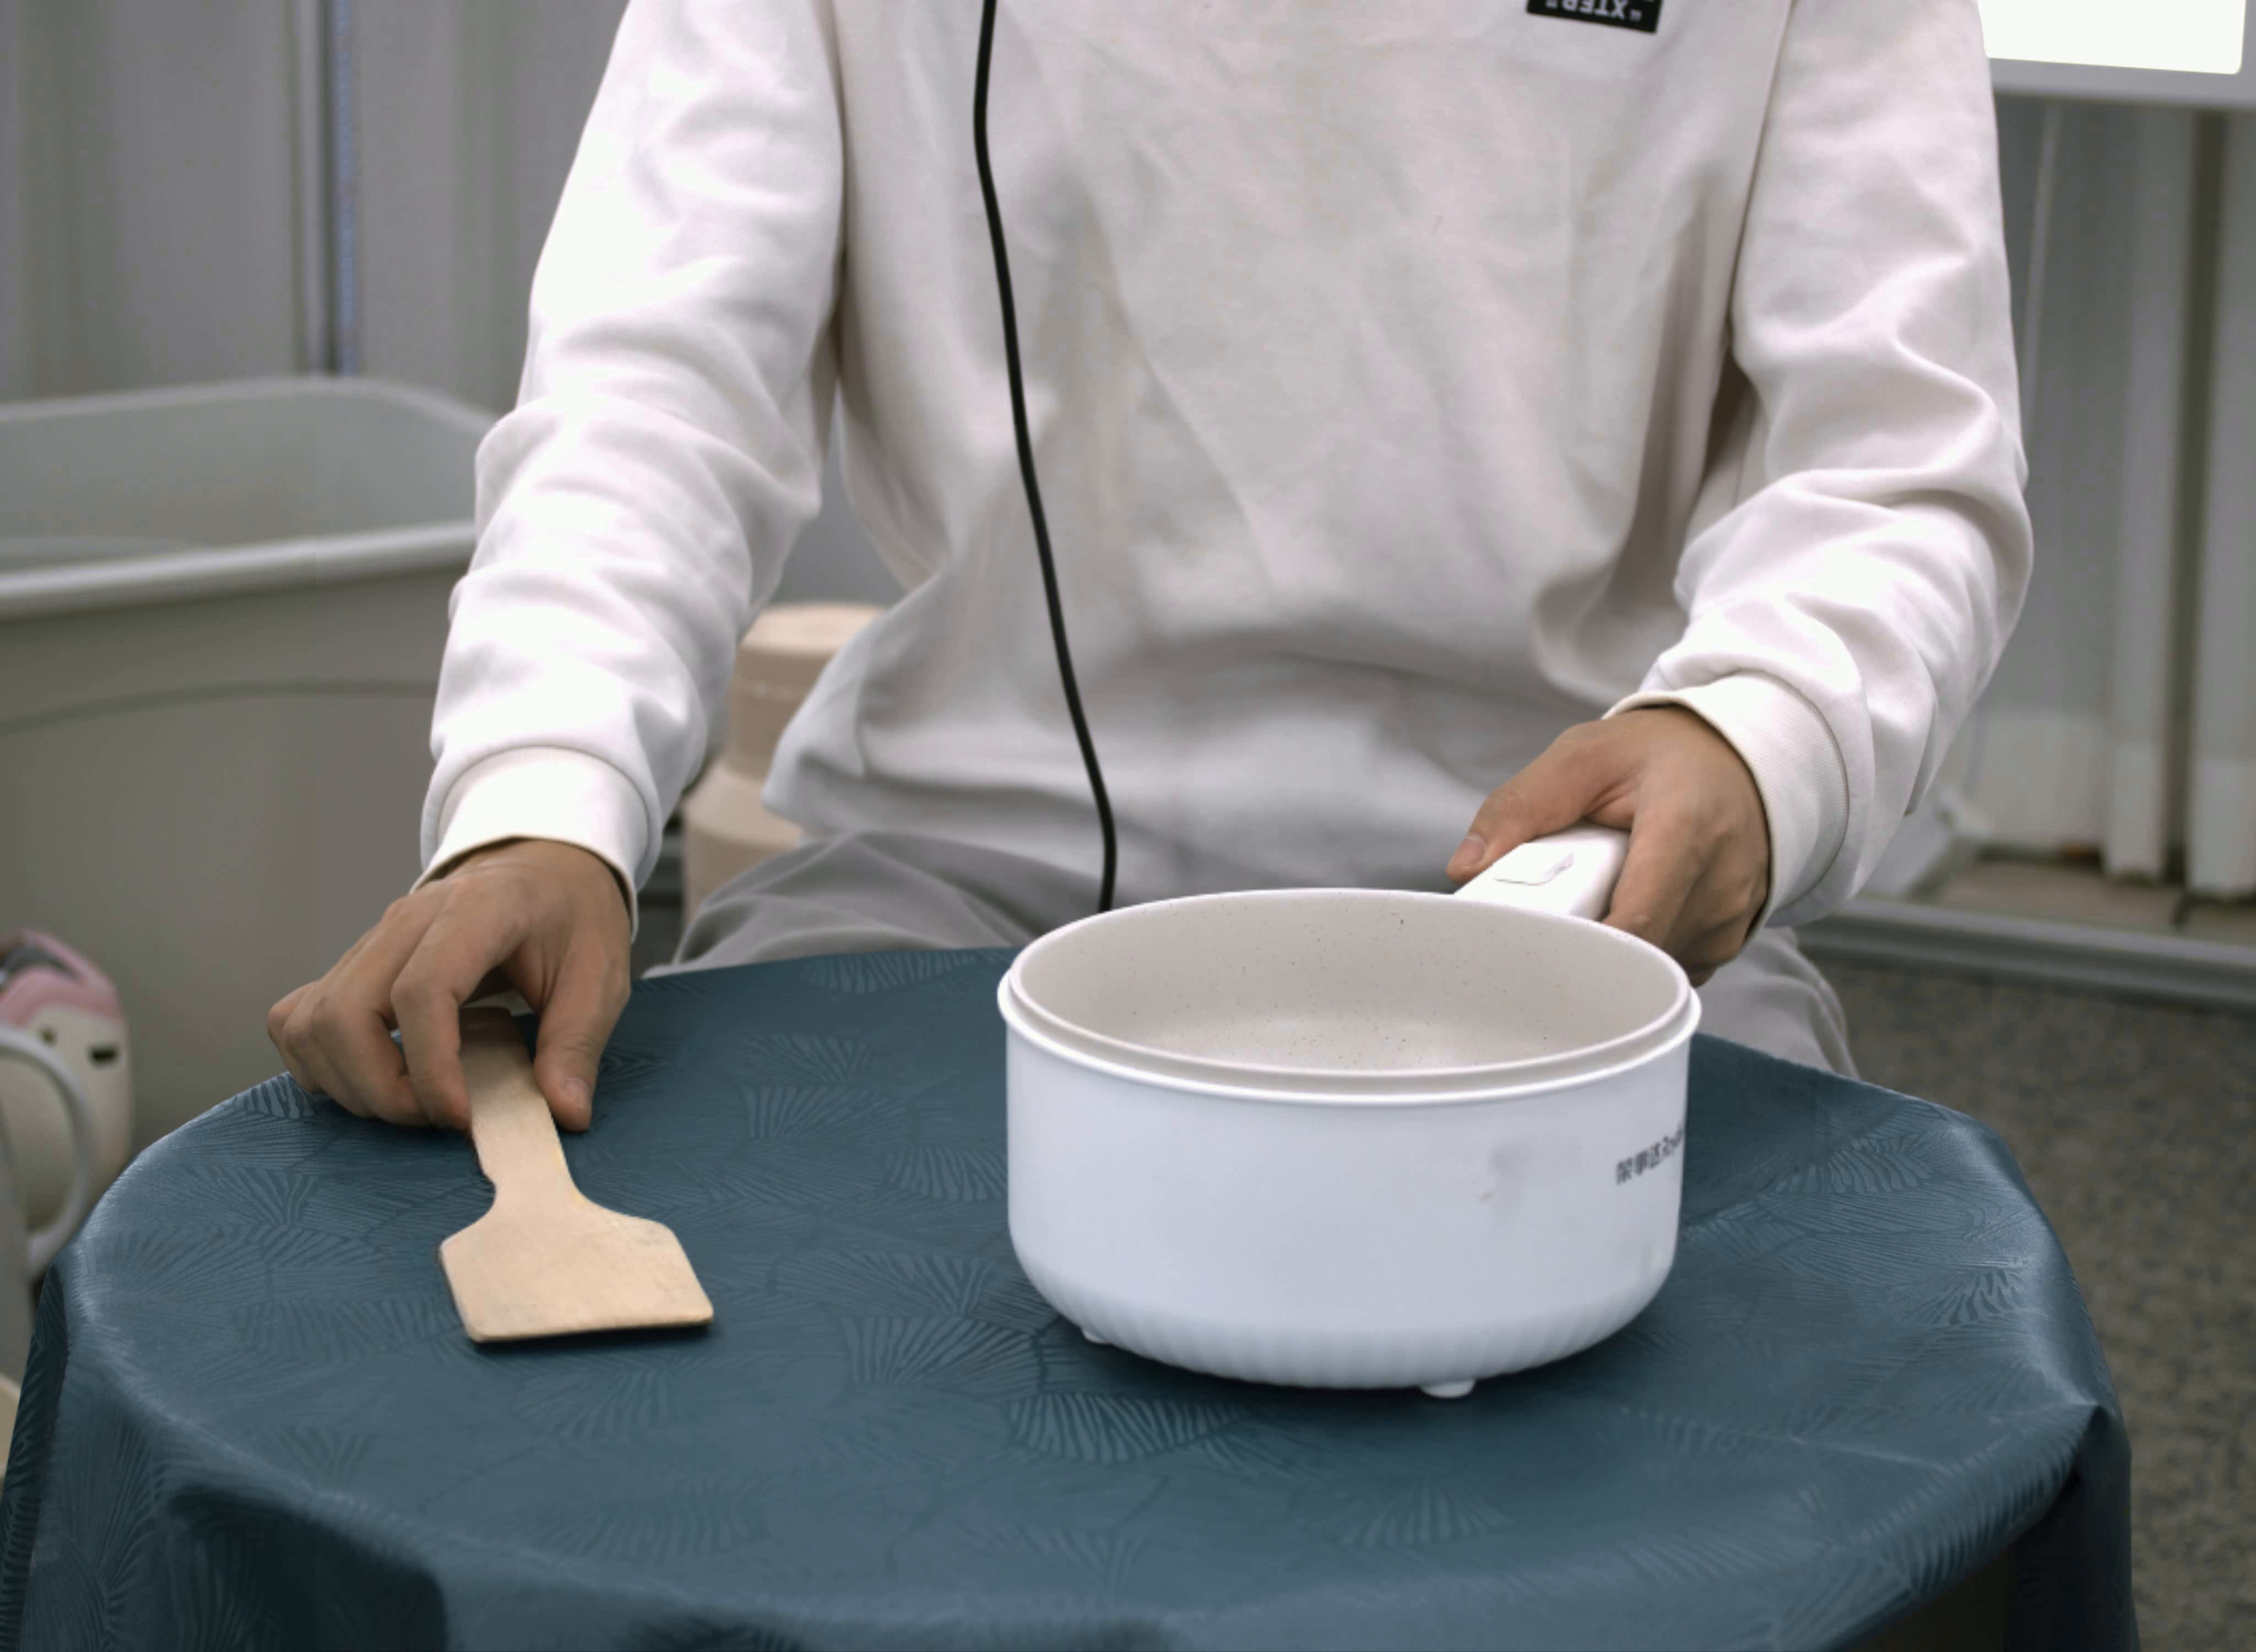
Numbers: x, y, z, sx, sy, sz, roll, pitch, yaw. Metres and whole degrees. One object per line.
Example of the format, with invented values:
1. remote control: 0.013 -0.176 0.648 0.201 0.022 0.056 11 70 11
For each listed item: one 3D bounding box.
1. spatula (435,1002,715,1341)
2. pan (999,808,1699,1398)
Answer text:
1. spatula: -0.186 0.104 1.629 0.072 0.011 0.290 -4 18 -13
2. pan: 0.093 0.077 1.586 0.199 0.103 0.355 6 14 22
